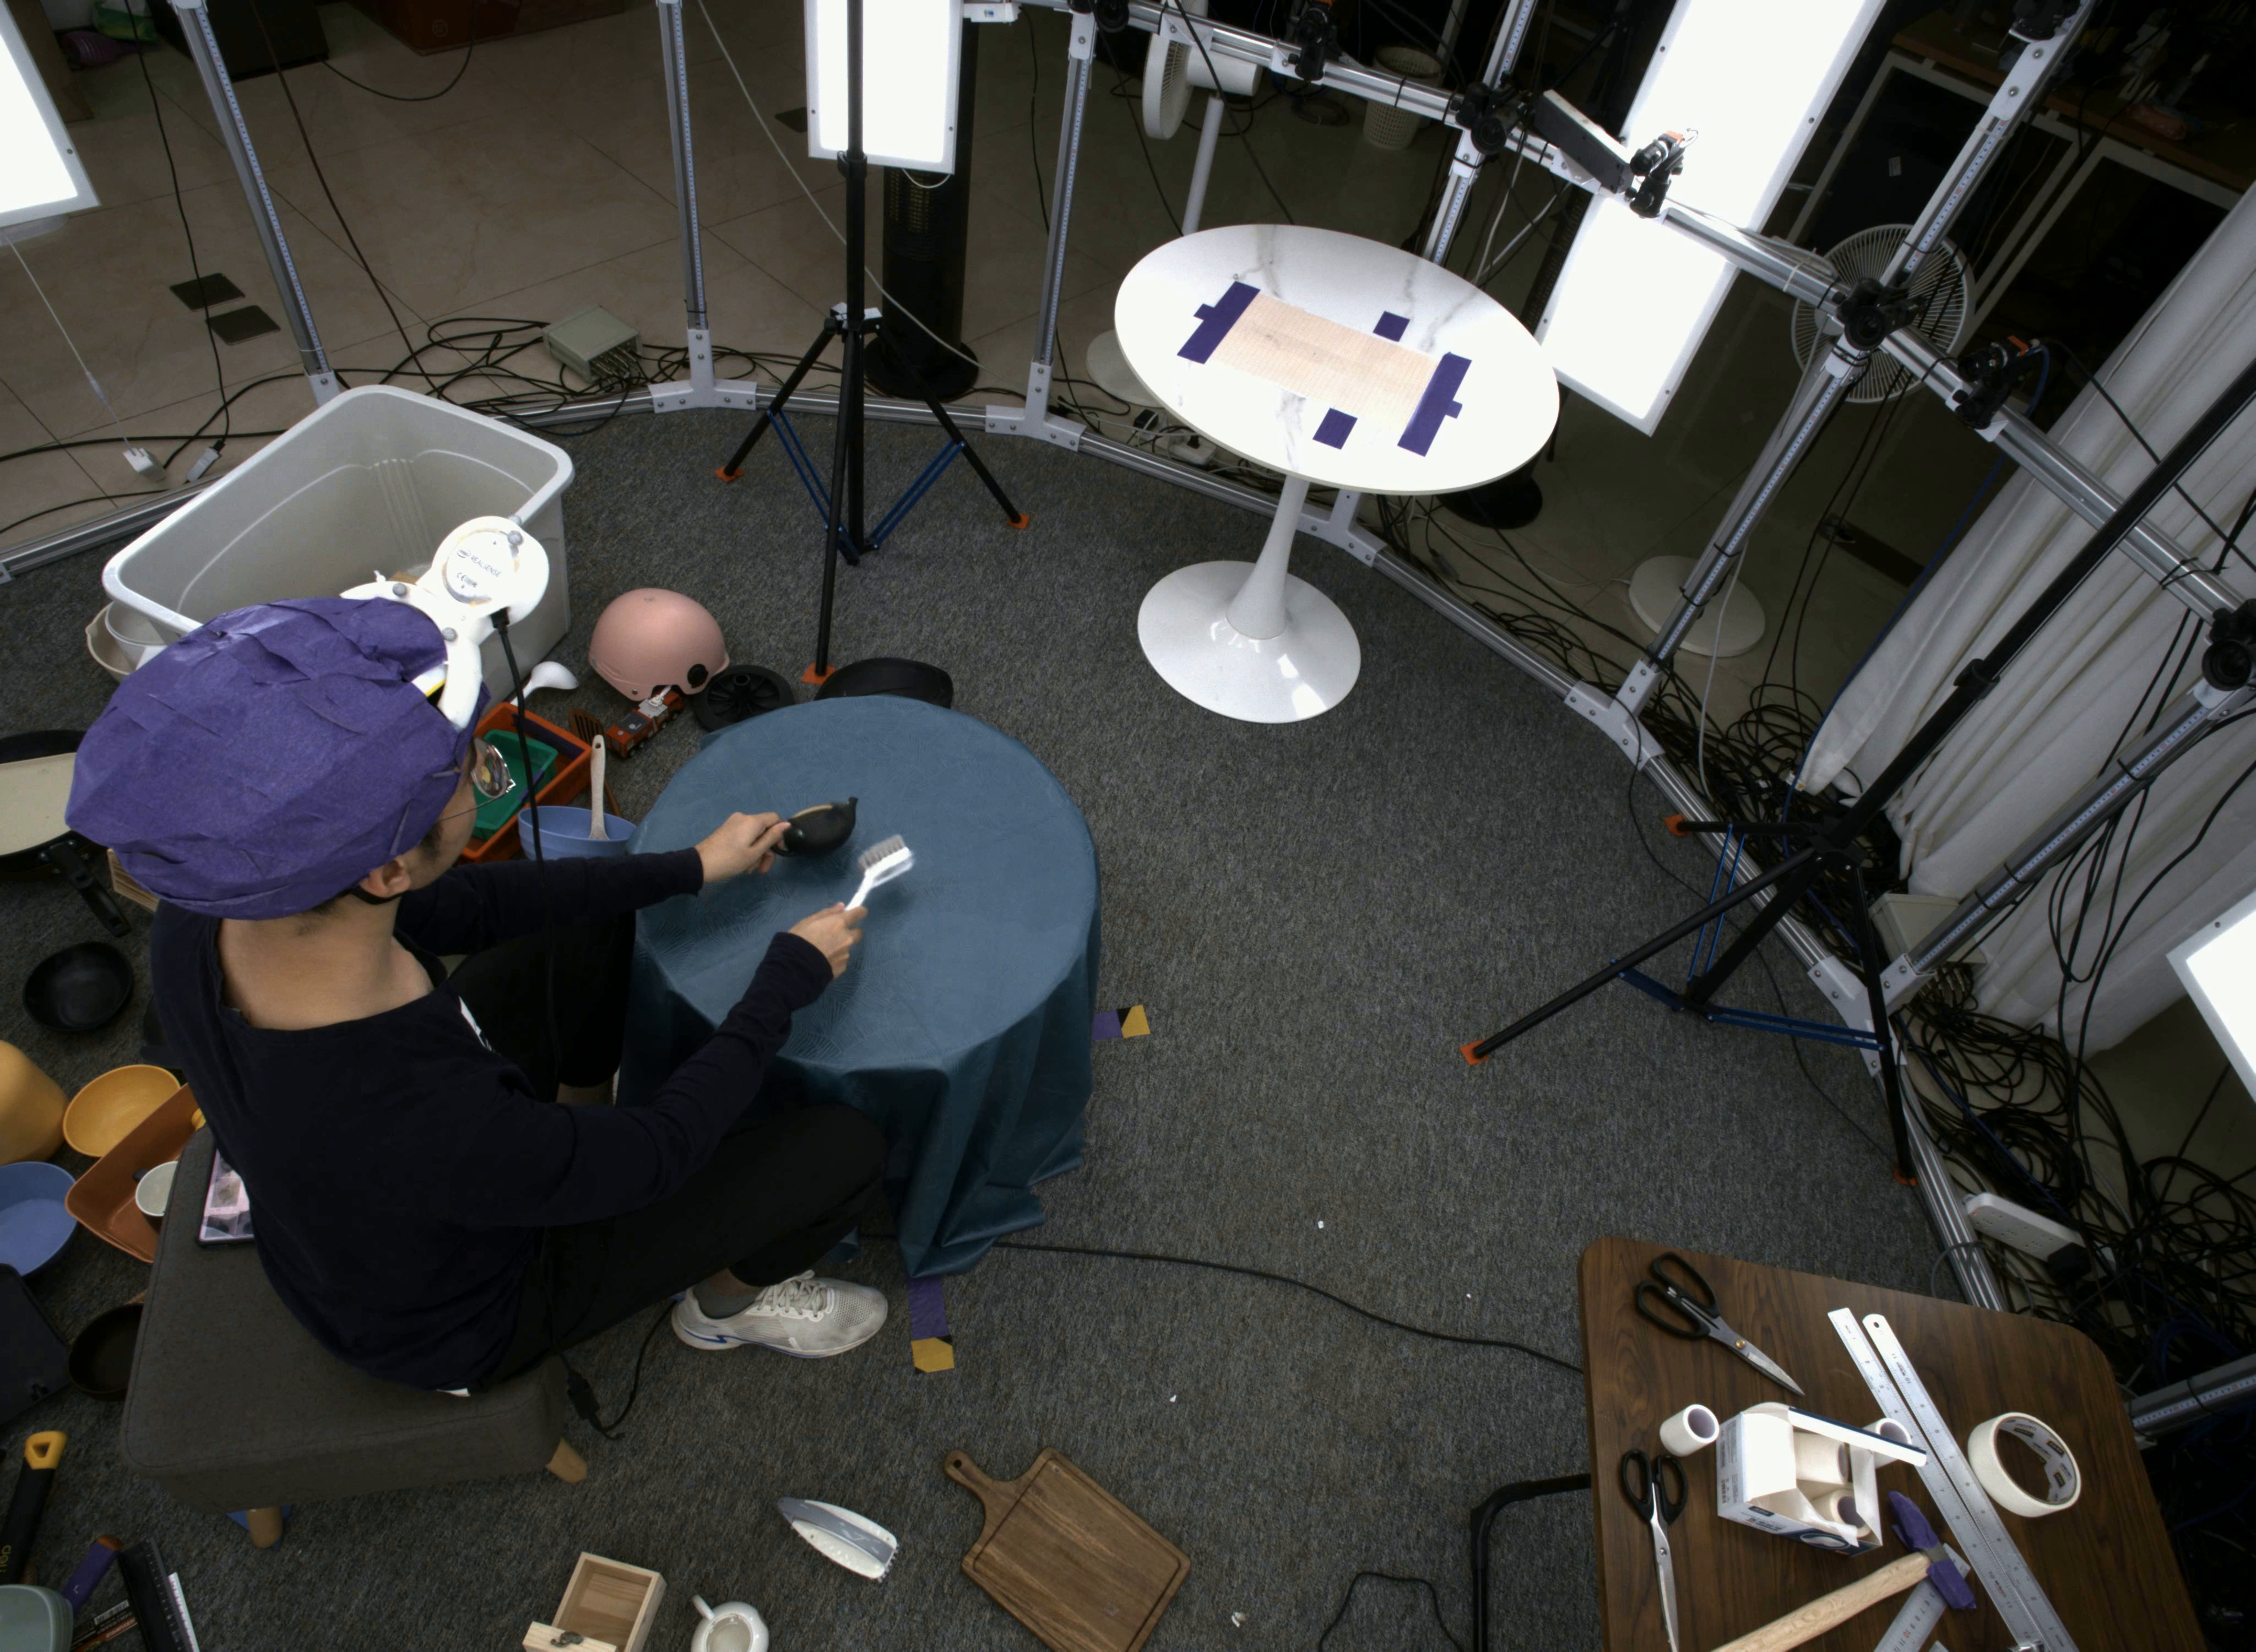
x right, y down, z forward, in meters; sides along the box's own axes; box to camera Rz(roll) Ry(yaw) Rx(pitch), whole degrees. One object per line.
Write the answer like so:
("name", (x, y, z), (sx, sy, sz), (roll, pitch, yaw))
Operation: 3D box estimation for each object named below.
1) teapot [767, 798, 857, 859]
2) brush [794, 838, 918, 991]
("teapot", (-0.402, 0.007, 1.670), (0.134, 0.054, 0.088), (-23, 18, -35))
("brush", (-0.344, 0.101, 1.594), (0.049, 0.035, 0.243), (35, 55, 6))
